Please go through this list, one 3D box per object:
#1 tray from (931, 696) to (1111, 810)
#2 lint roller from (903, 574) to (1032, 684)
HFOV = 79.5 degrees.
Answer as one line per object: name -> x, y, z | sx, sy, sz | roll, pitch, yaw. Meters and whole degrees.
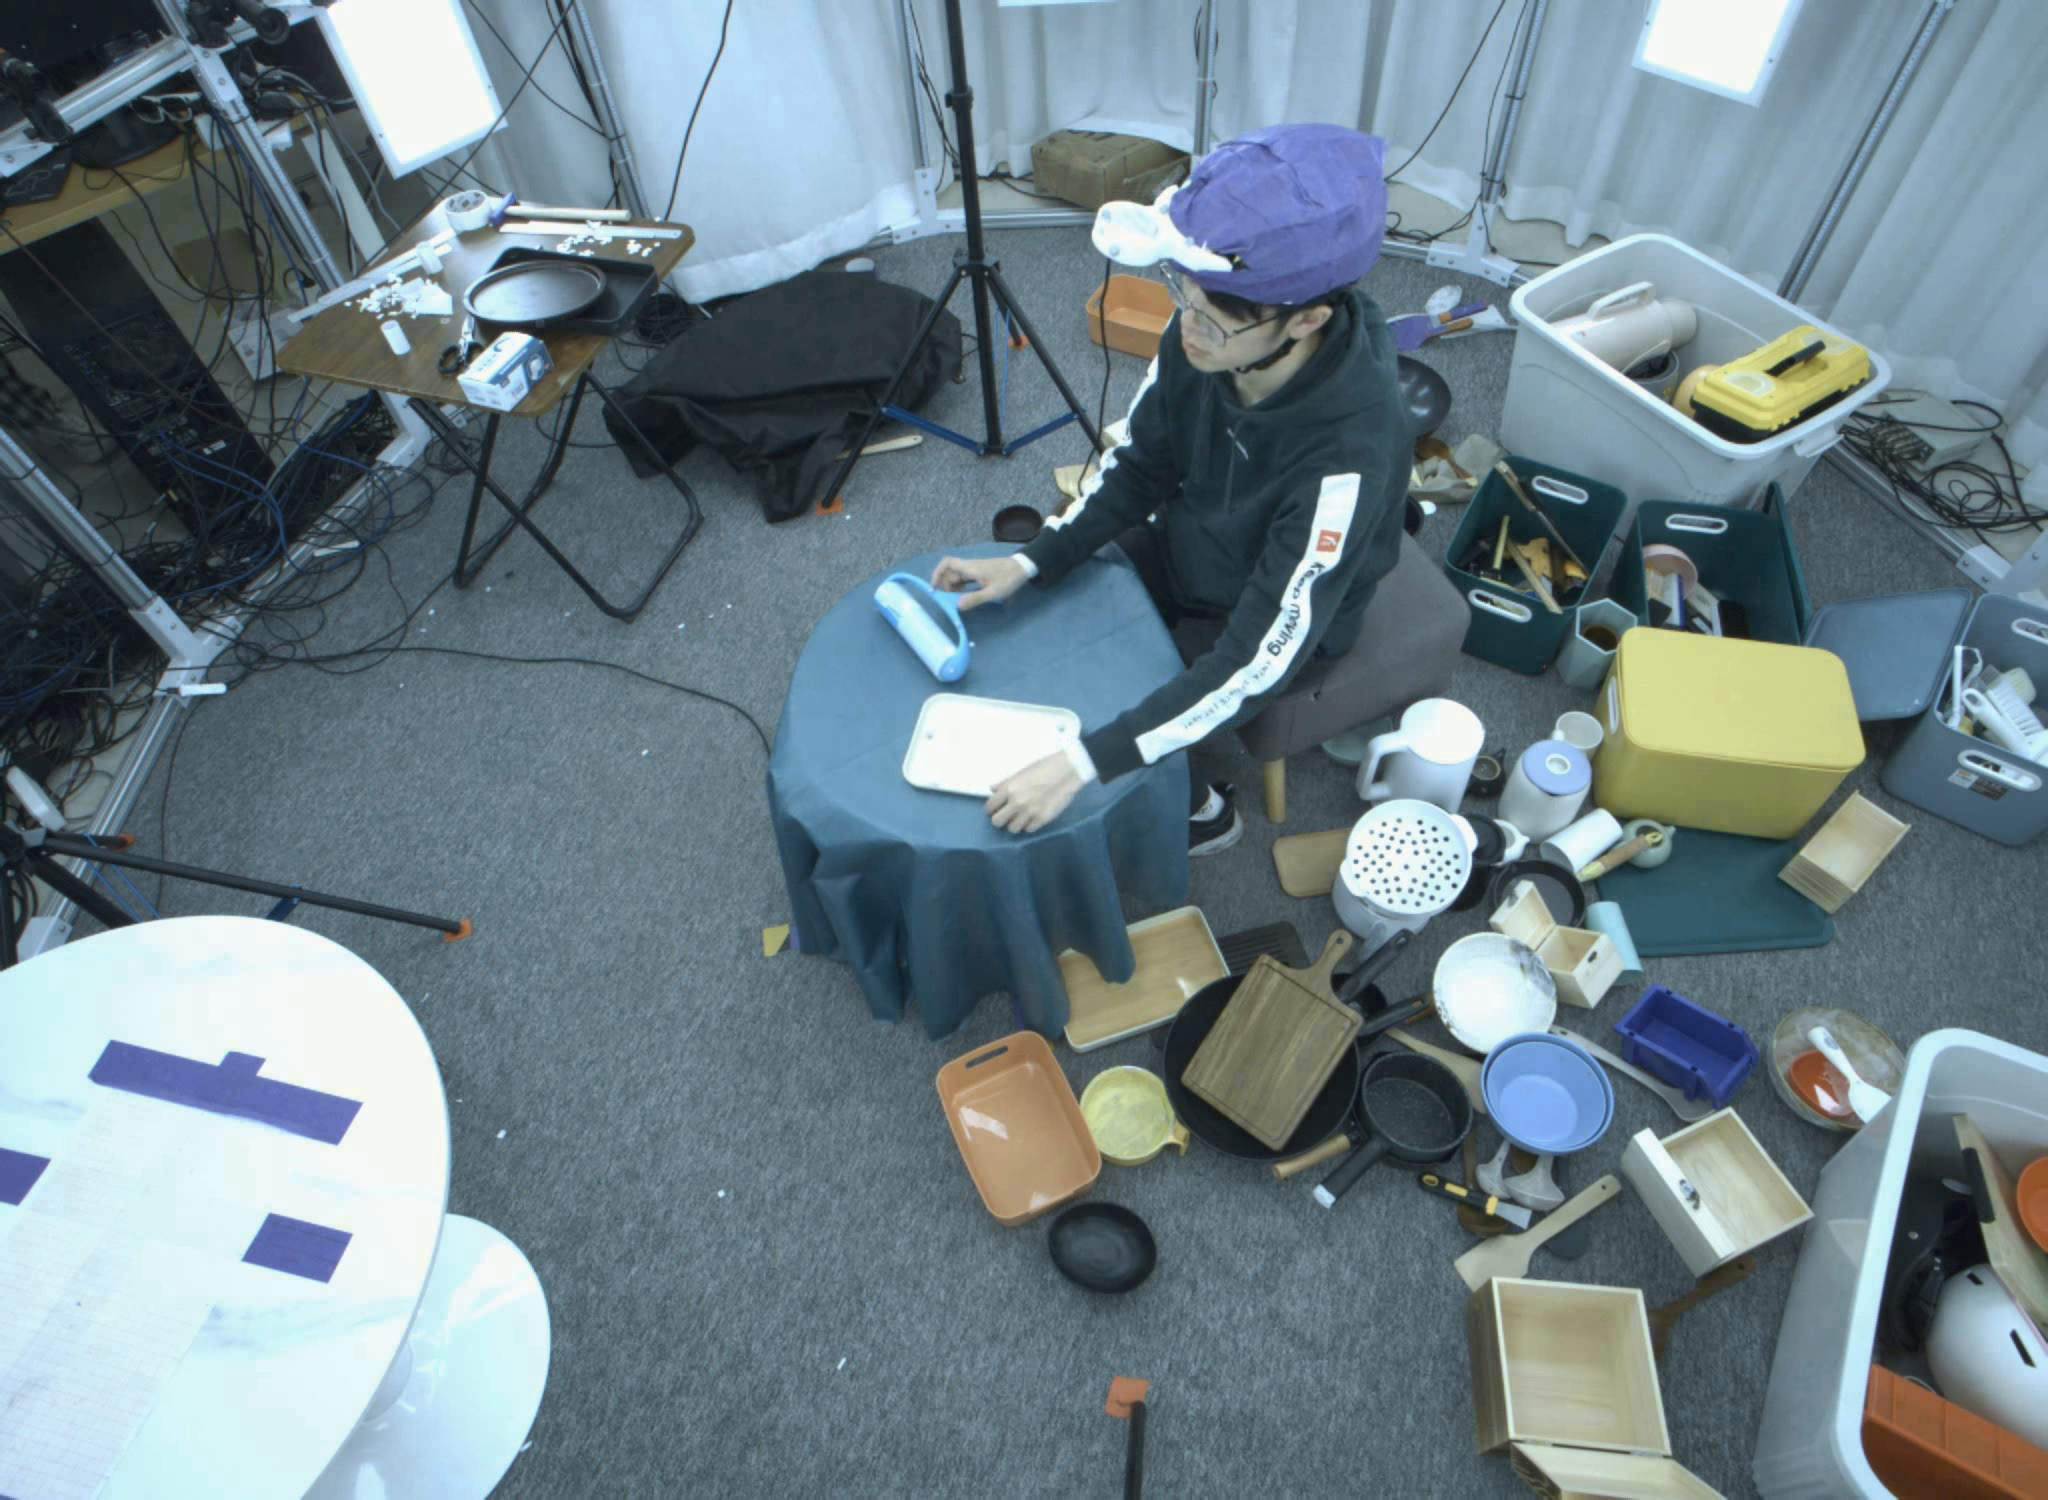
tray -> -0.004, 0.004, 1.769 | 0.238, 0.017, 0.170 | 10, 55, 9
lint roller -> -0.068, -0.212, 1.901 | 0.181, 0.069, 0.224 | -32, 58, -18
